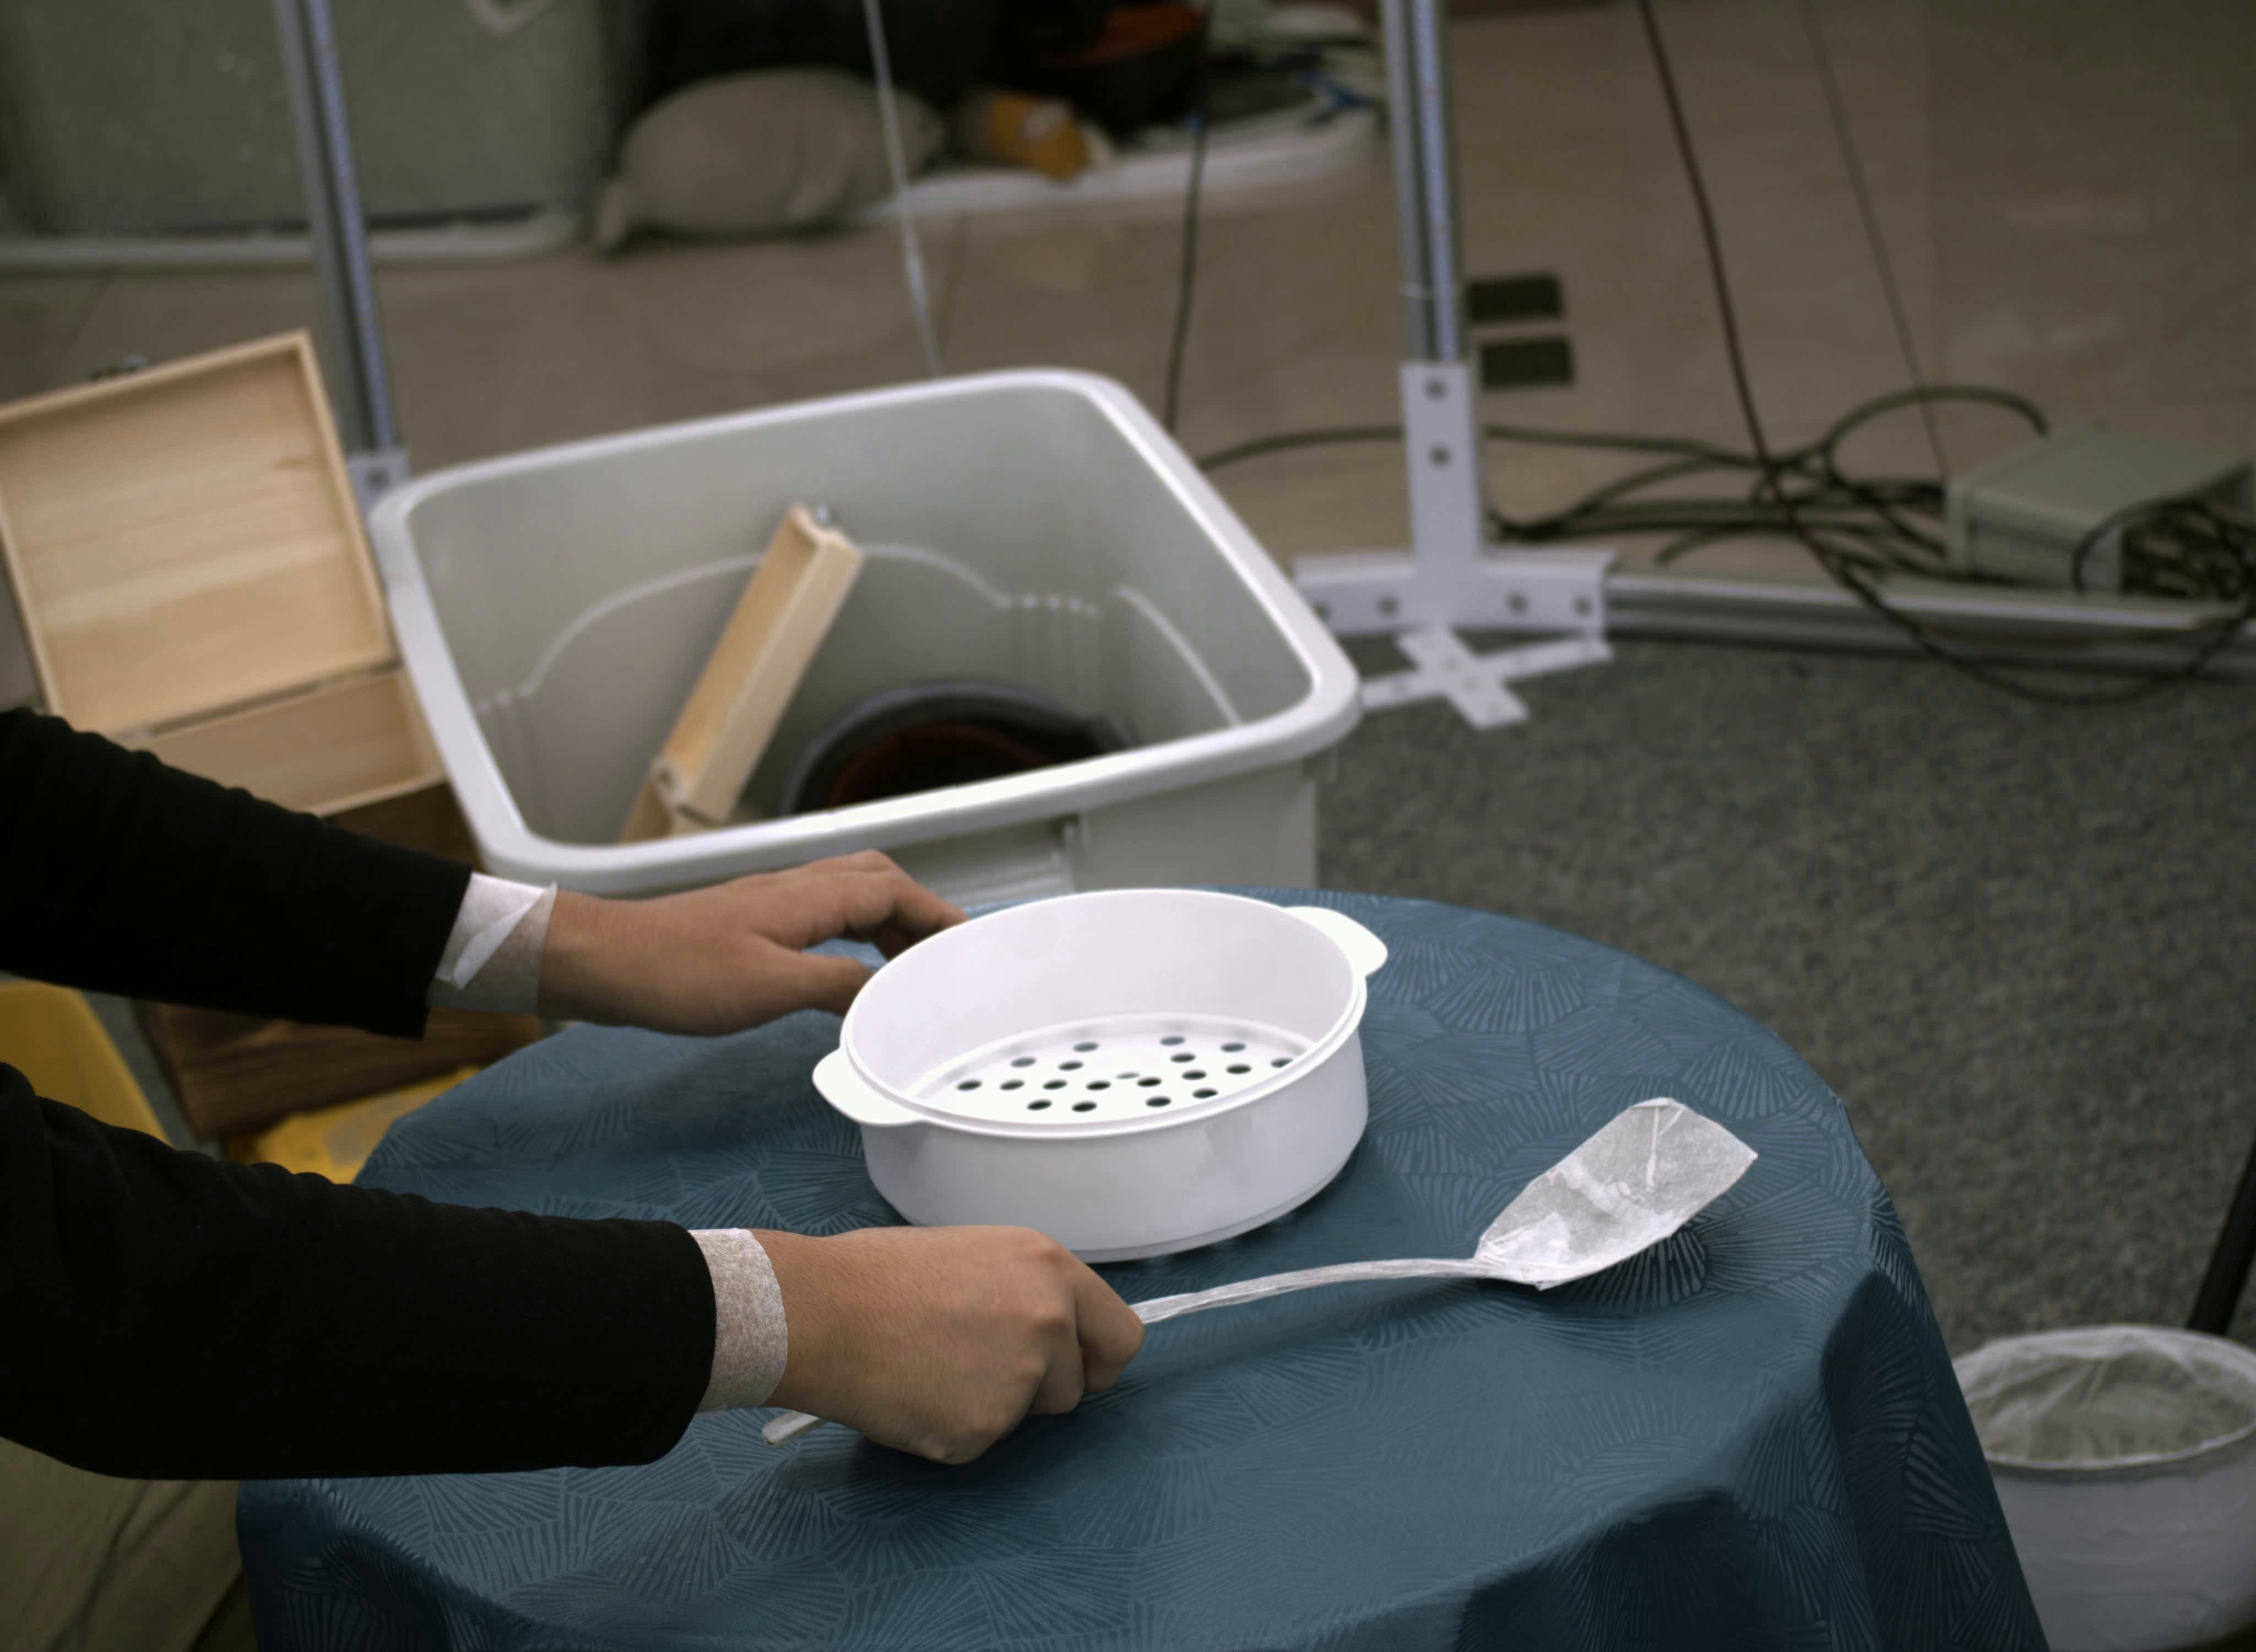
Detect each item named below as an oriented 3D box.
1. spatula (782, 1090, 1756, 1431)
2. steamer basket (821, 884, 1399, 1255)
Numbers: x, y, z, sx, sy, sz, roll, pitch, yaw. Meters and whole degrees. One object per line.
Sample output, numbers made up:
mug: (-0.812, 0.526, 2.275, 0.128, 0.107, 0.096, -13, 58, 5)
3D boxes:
spatula: (0.051, 0.161, 2.033, 0.364, 0.045, 0.097, -11, 19, -15)
steamer basket: (-0.002, 0.094, 2.162, 0.229, 0.070, 0.199, -17, 26, -21)
